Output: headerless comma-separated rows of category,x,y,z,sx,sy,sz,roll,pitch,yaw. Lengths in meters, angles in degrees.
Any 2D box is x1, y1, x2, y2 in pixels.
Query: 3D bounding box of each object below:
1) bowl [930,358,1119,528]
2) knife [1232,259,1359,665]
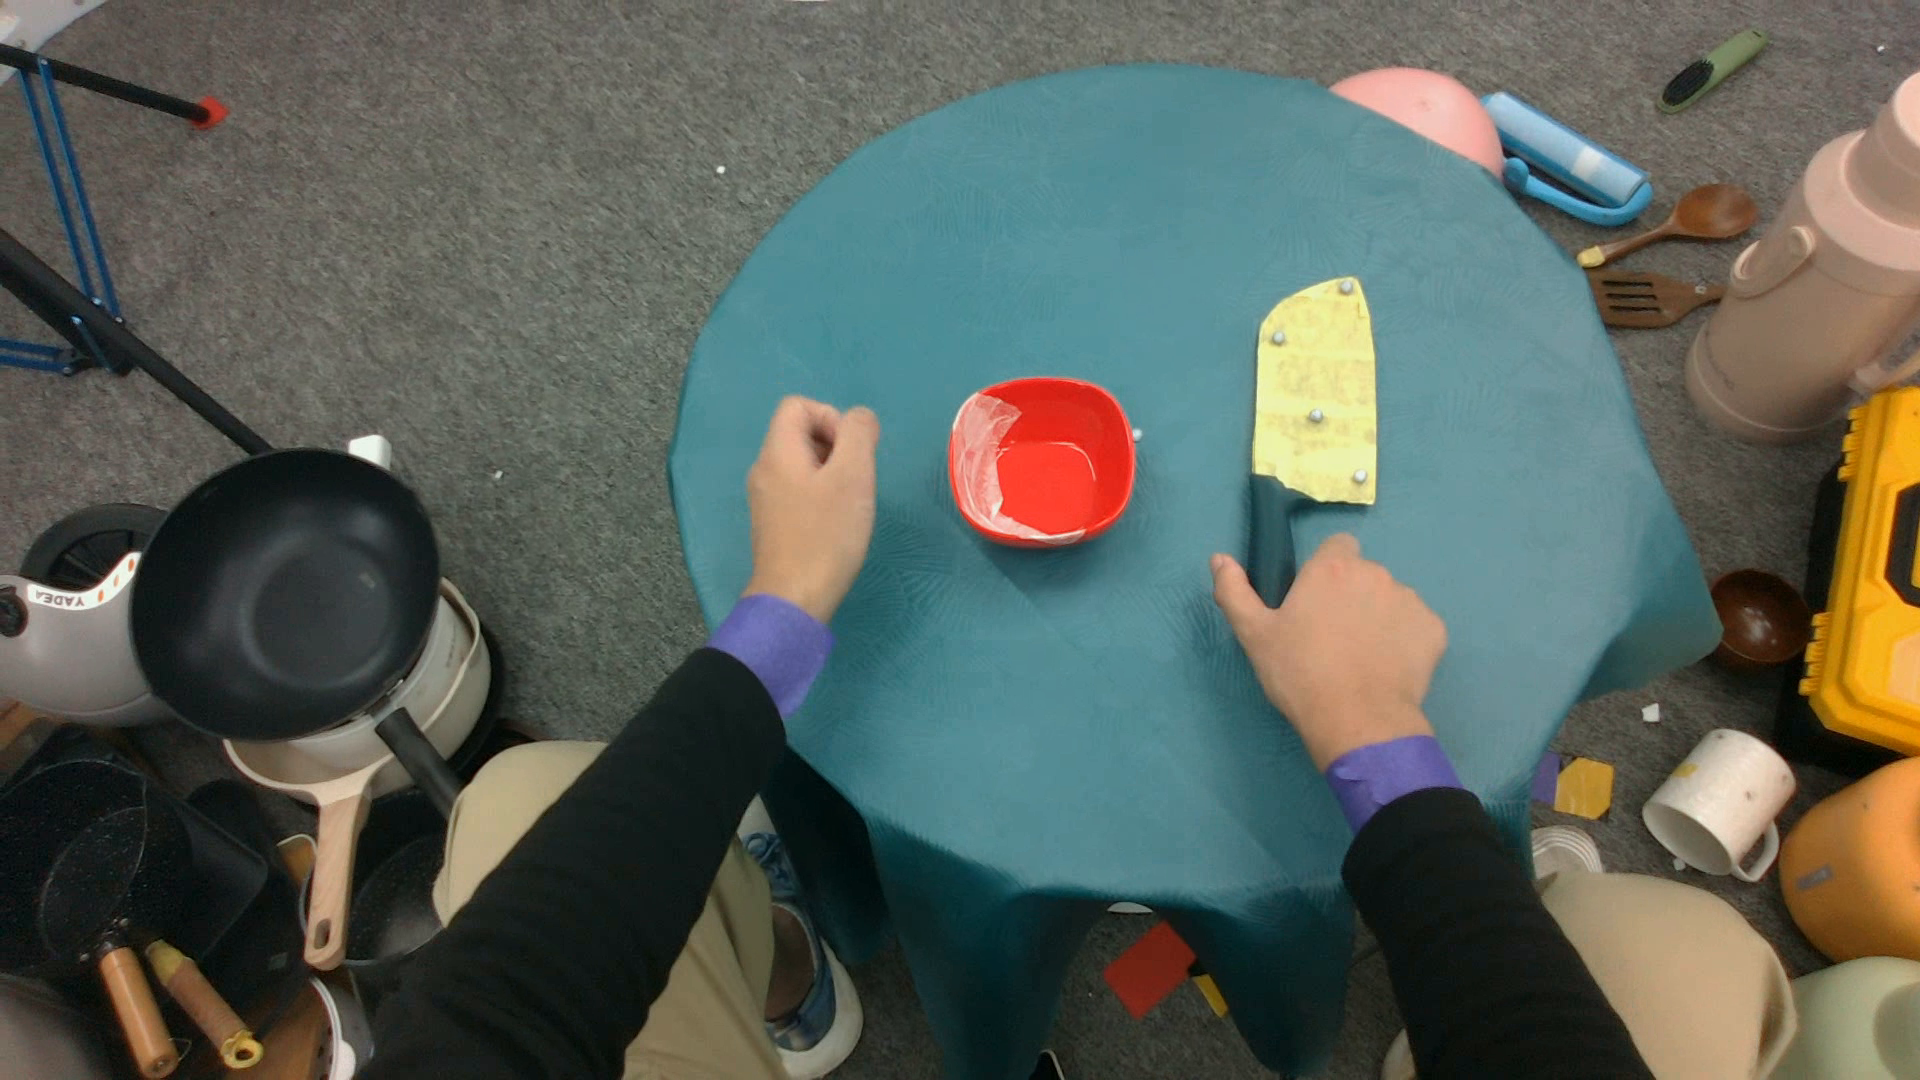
bowl,0.039,-0.050,0.826,0.119,0.051,0.119,-1,62,2
knife,0.202,-0.057,0.839,0.081,0.027,0.290,7,63,9
